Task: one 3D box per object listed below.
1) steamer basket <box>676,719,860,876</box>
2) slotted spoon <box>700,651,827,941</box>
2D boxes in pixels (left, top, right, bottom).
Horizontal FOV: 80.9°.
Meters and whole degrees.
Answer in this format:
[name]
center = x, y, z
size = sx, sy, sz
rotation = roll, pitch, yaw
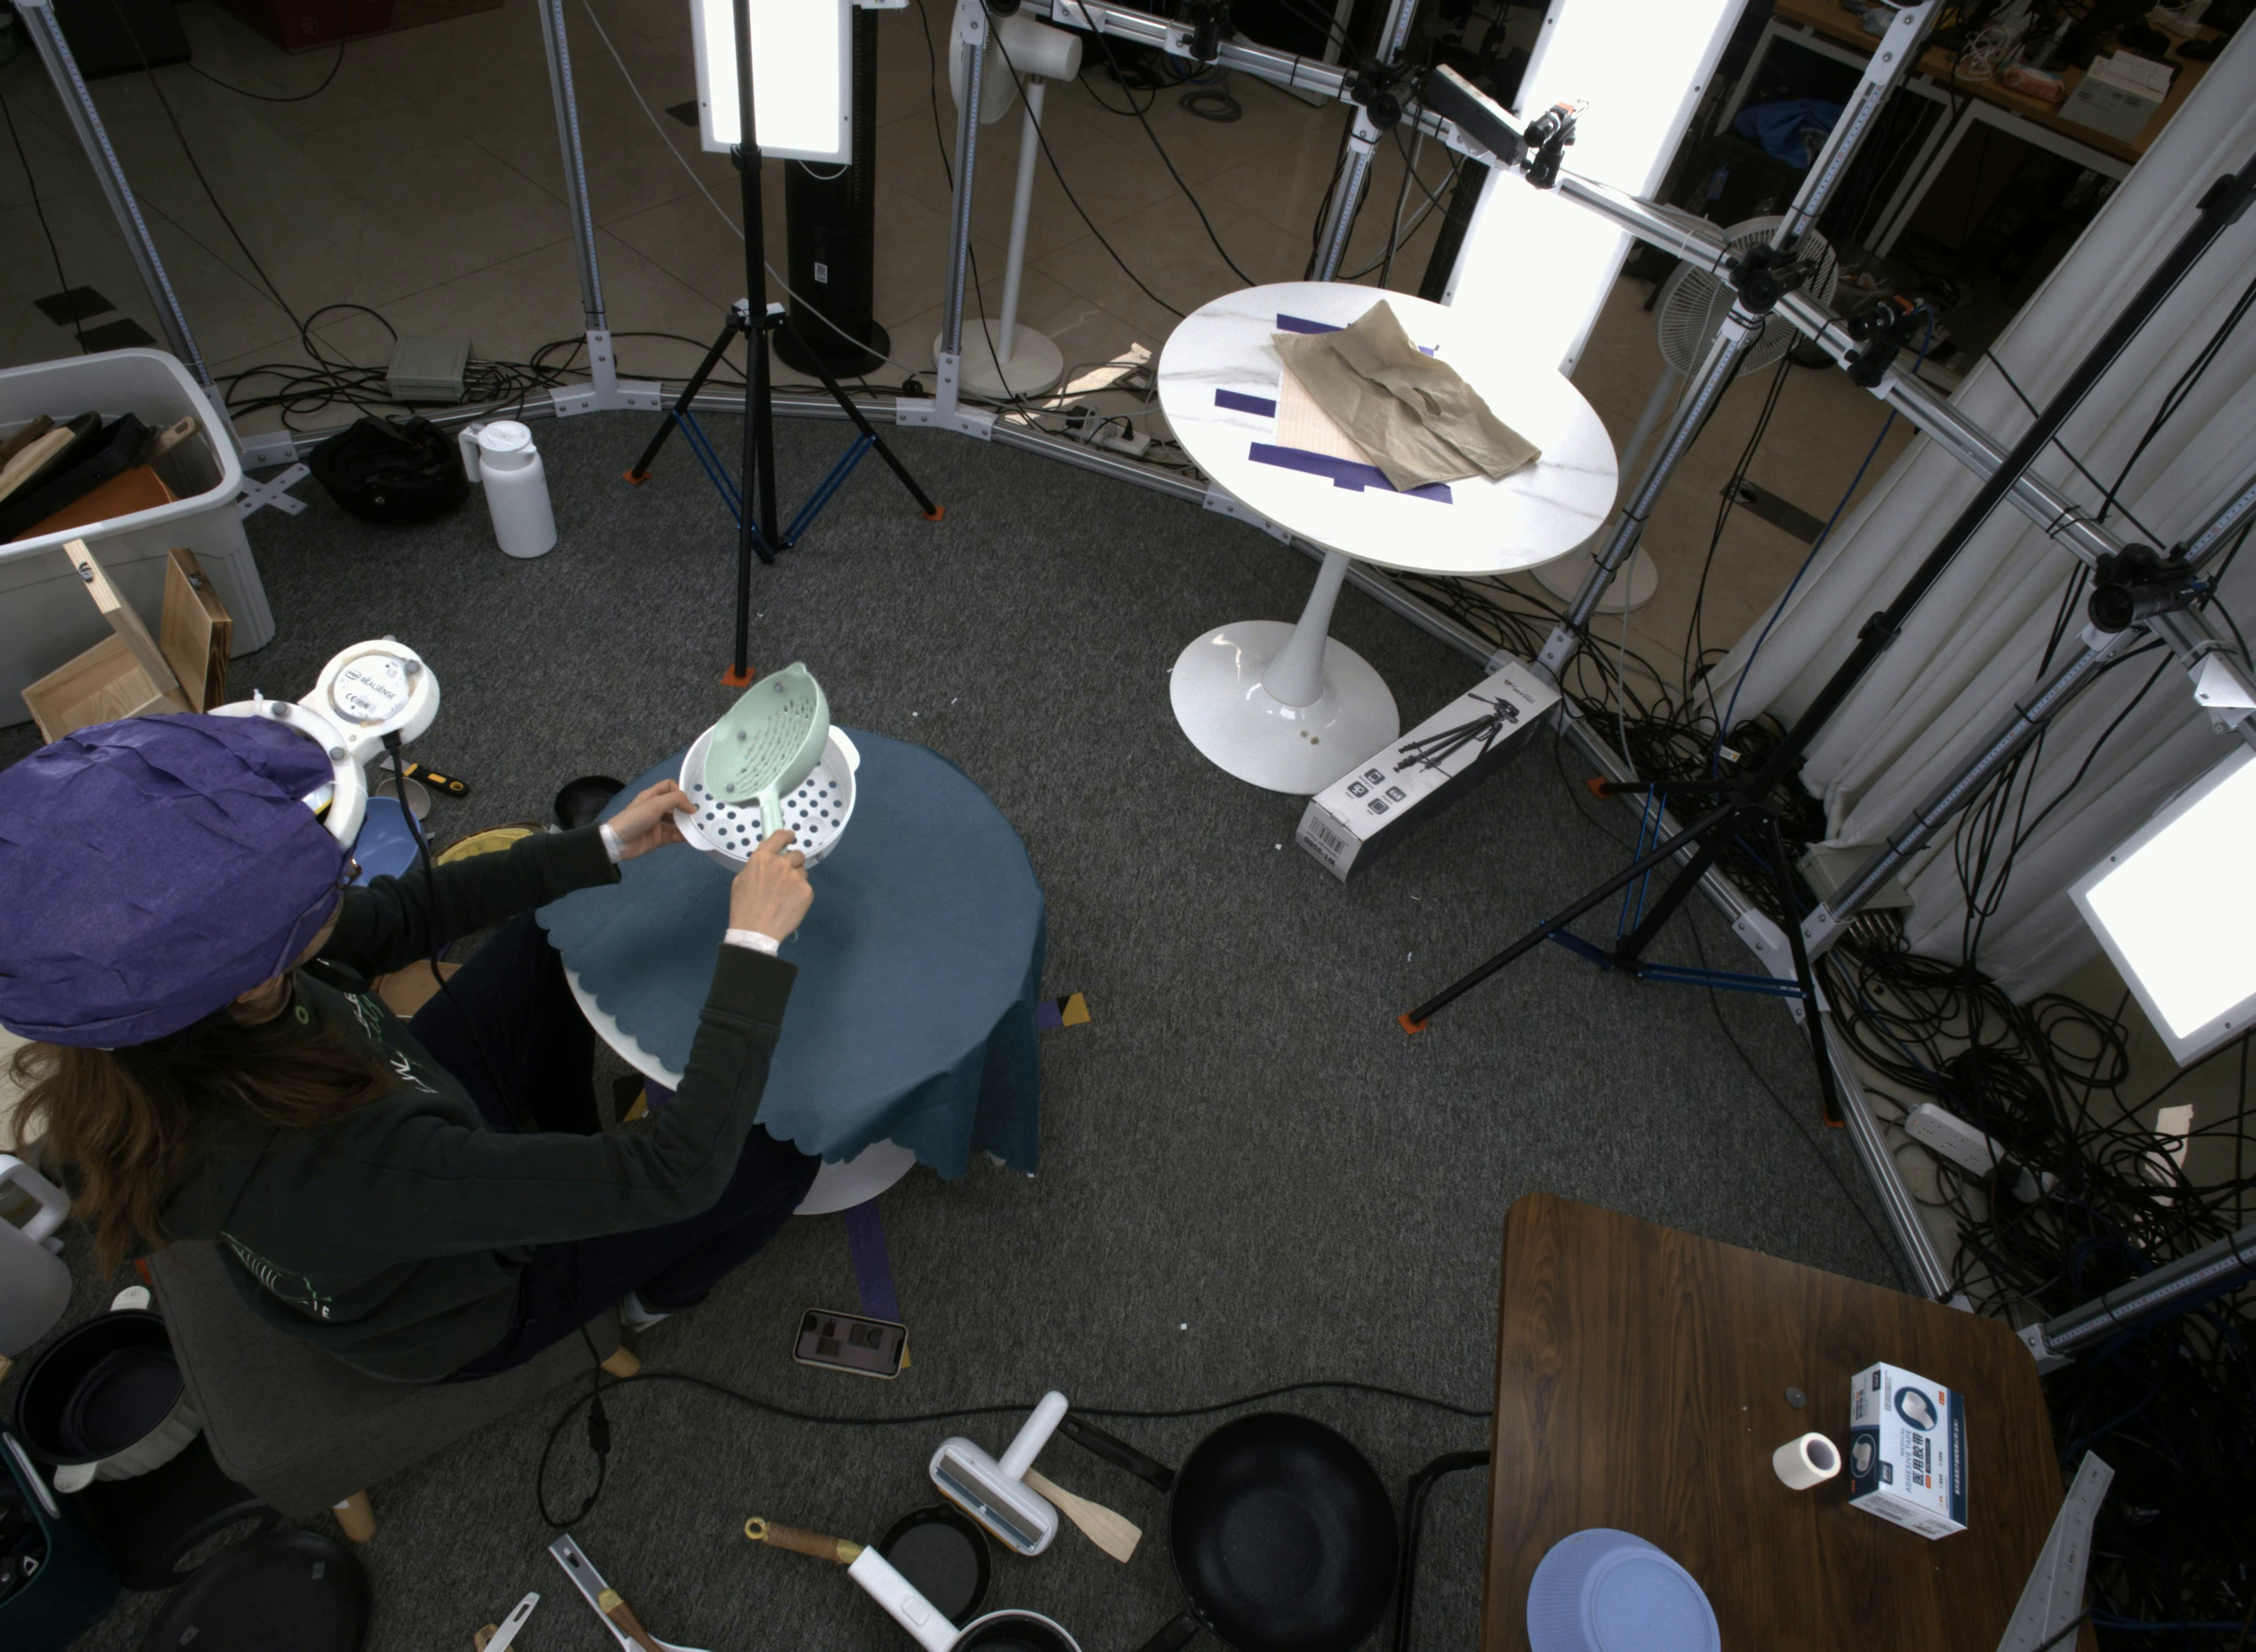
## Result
[steamer basket]
center = -0.426, -0.040, 1.540
size = 0.231, 0.069, 0.200
rotation = -35, 81, -28
[slotted spoon]
center = -0.368, -0.032, 1.335
size = 0.168, 0.078, 0.349
rotation = -33, 41, 16
